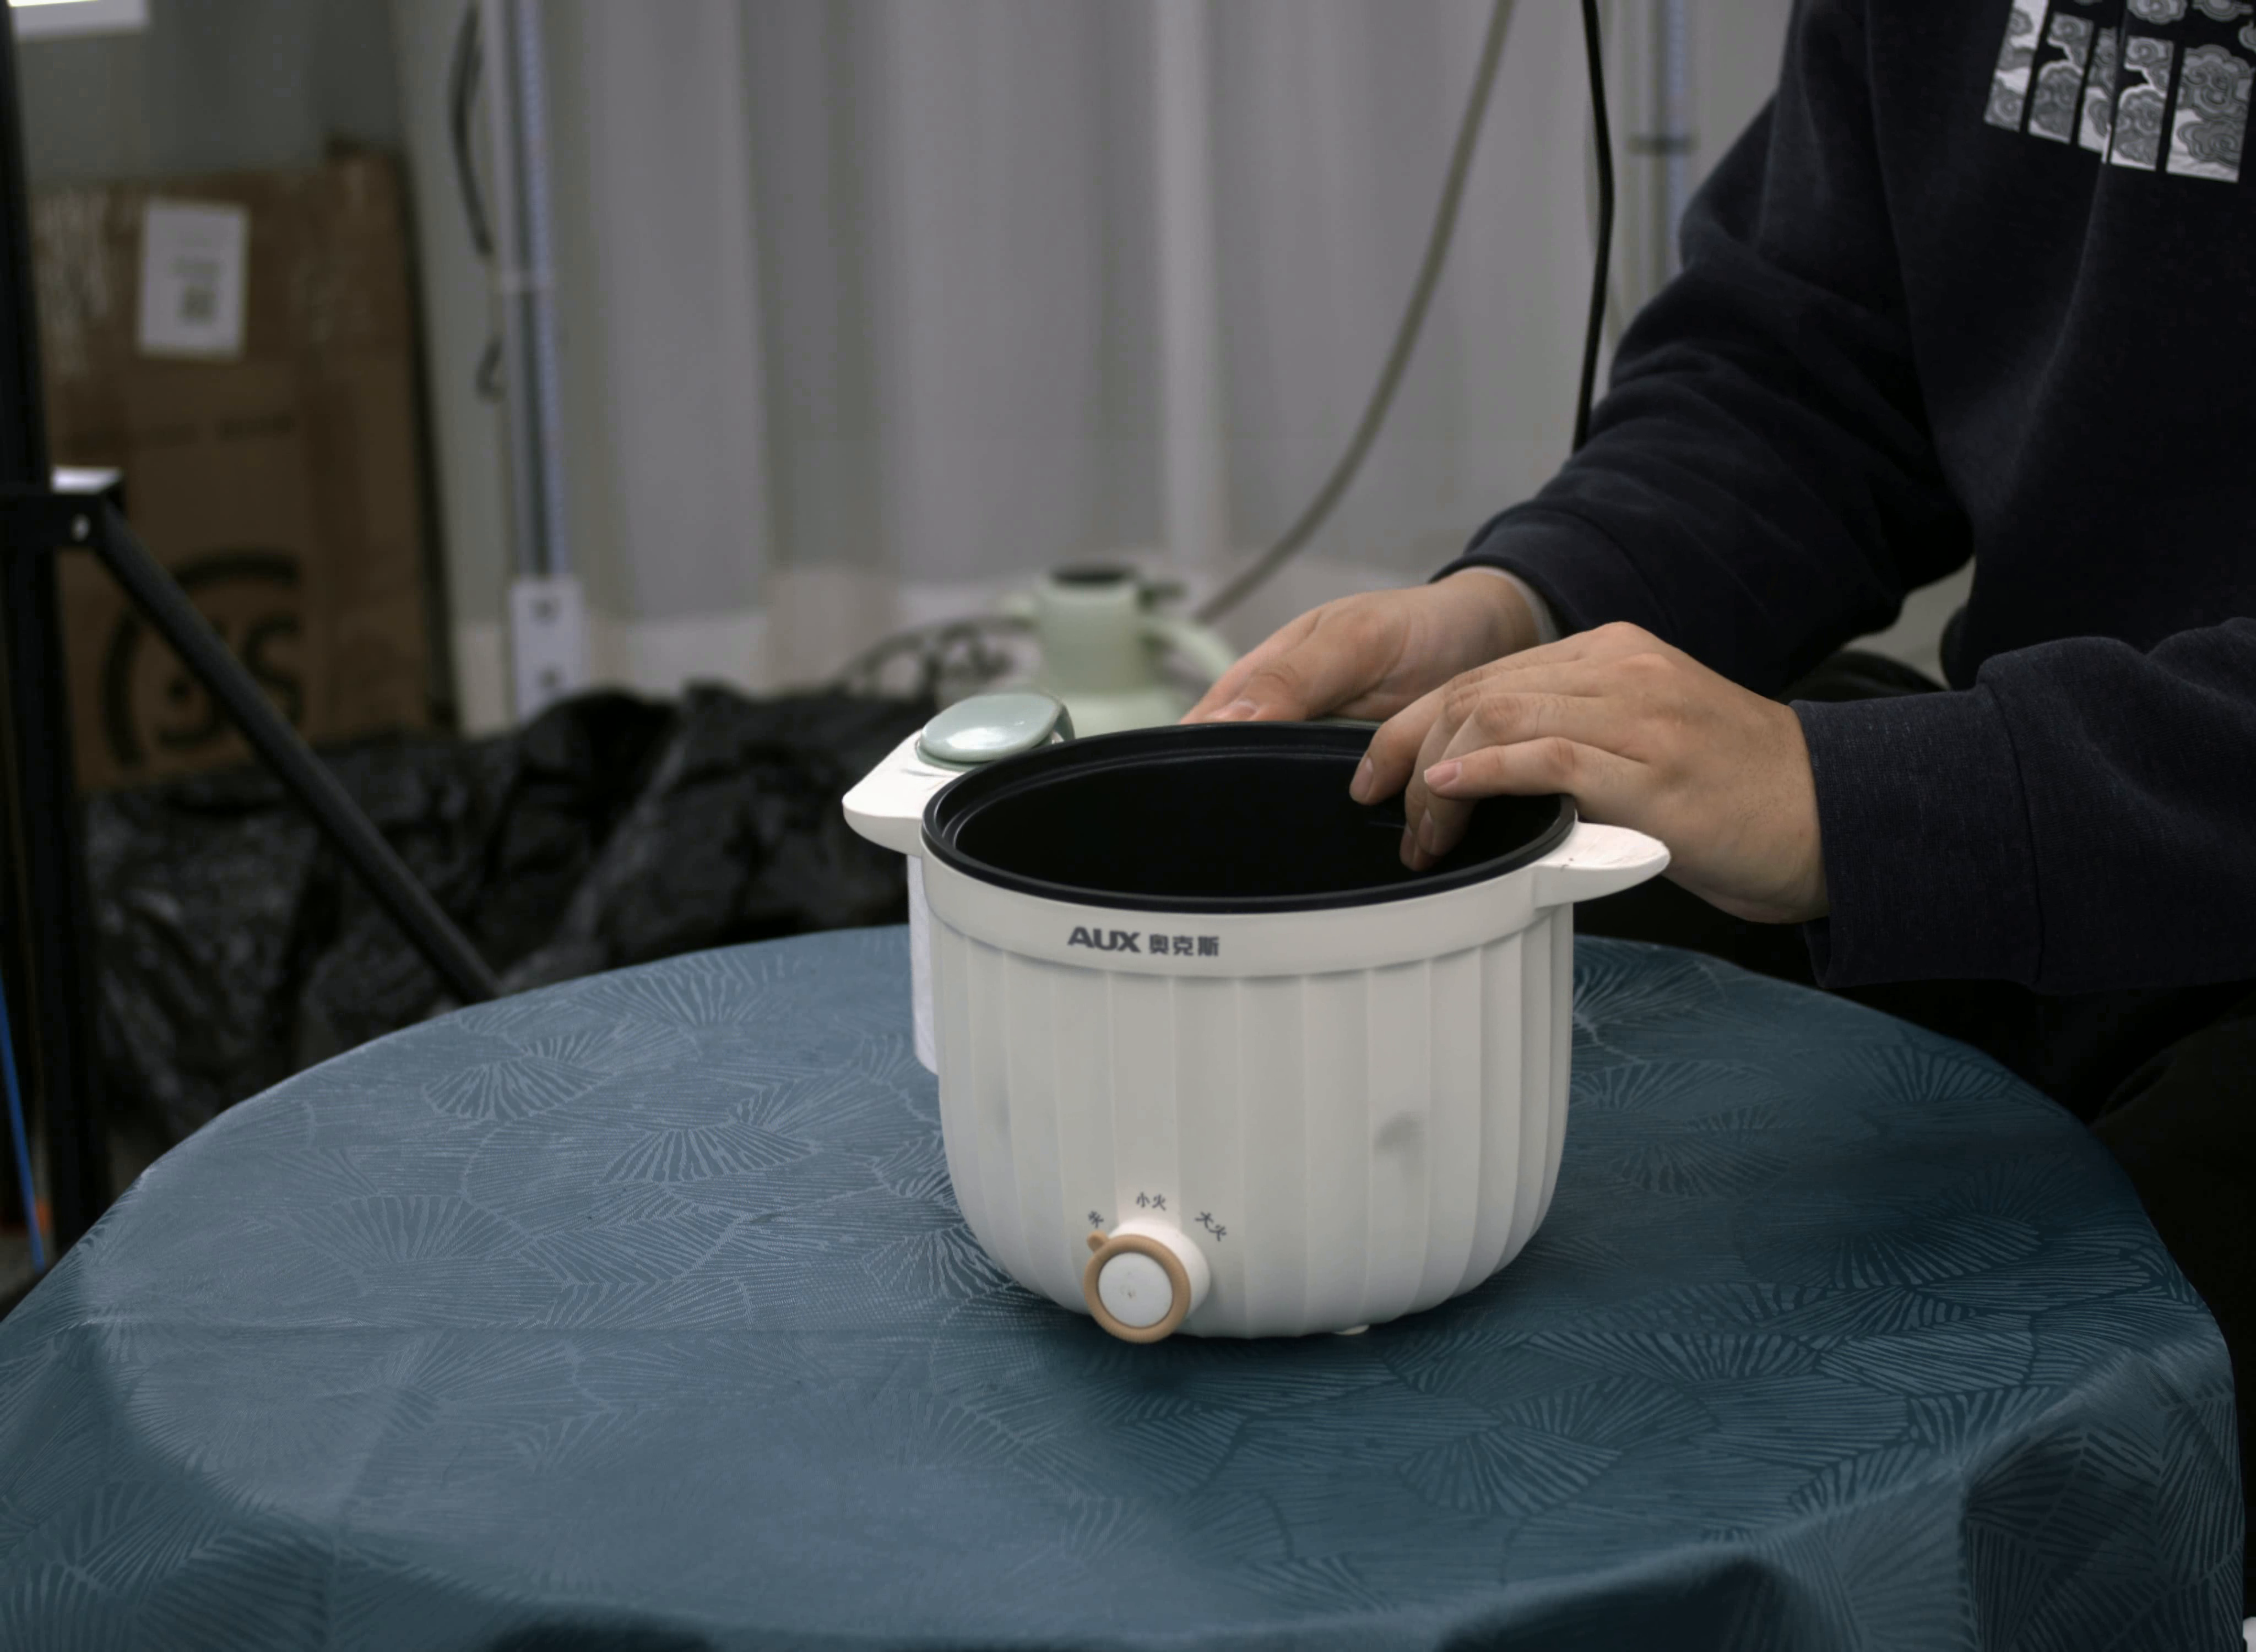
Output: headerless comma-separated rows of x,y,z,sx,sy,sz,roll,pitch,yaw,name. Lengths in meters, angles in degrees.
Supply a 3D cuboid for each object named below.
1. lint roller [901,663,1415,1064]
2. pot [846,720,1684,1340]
0.010,-0.007,1.608,0.049,0.116,0.193,12,26,42,lint roller
0.036,0.059,1.471,0.243,0.143,0.188,2,13,21,pot
